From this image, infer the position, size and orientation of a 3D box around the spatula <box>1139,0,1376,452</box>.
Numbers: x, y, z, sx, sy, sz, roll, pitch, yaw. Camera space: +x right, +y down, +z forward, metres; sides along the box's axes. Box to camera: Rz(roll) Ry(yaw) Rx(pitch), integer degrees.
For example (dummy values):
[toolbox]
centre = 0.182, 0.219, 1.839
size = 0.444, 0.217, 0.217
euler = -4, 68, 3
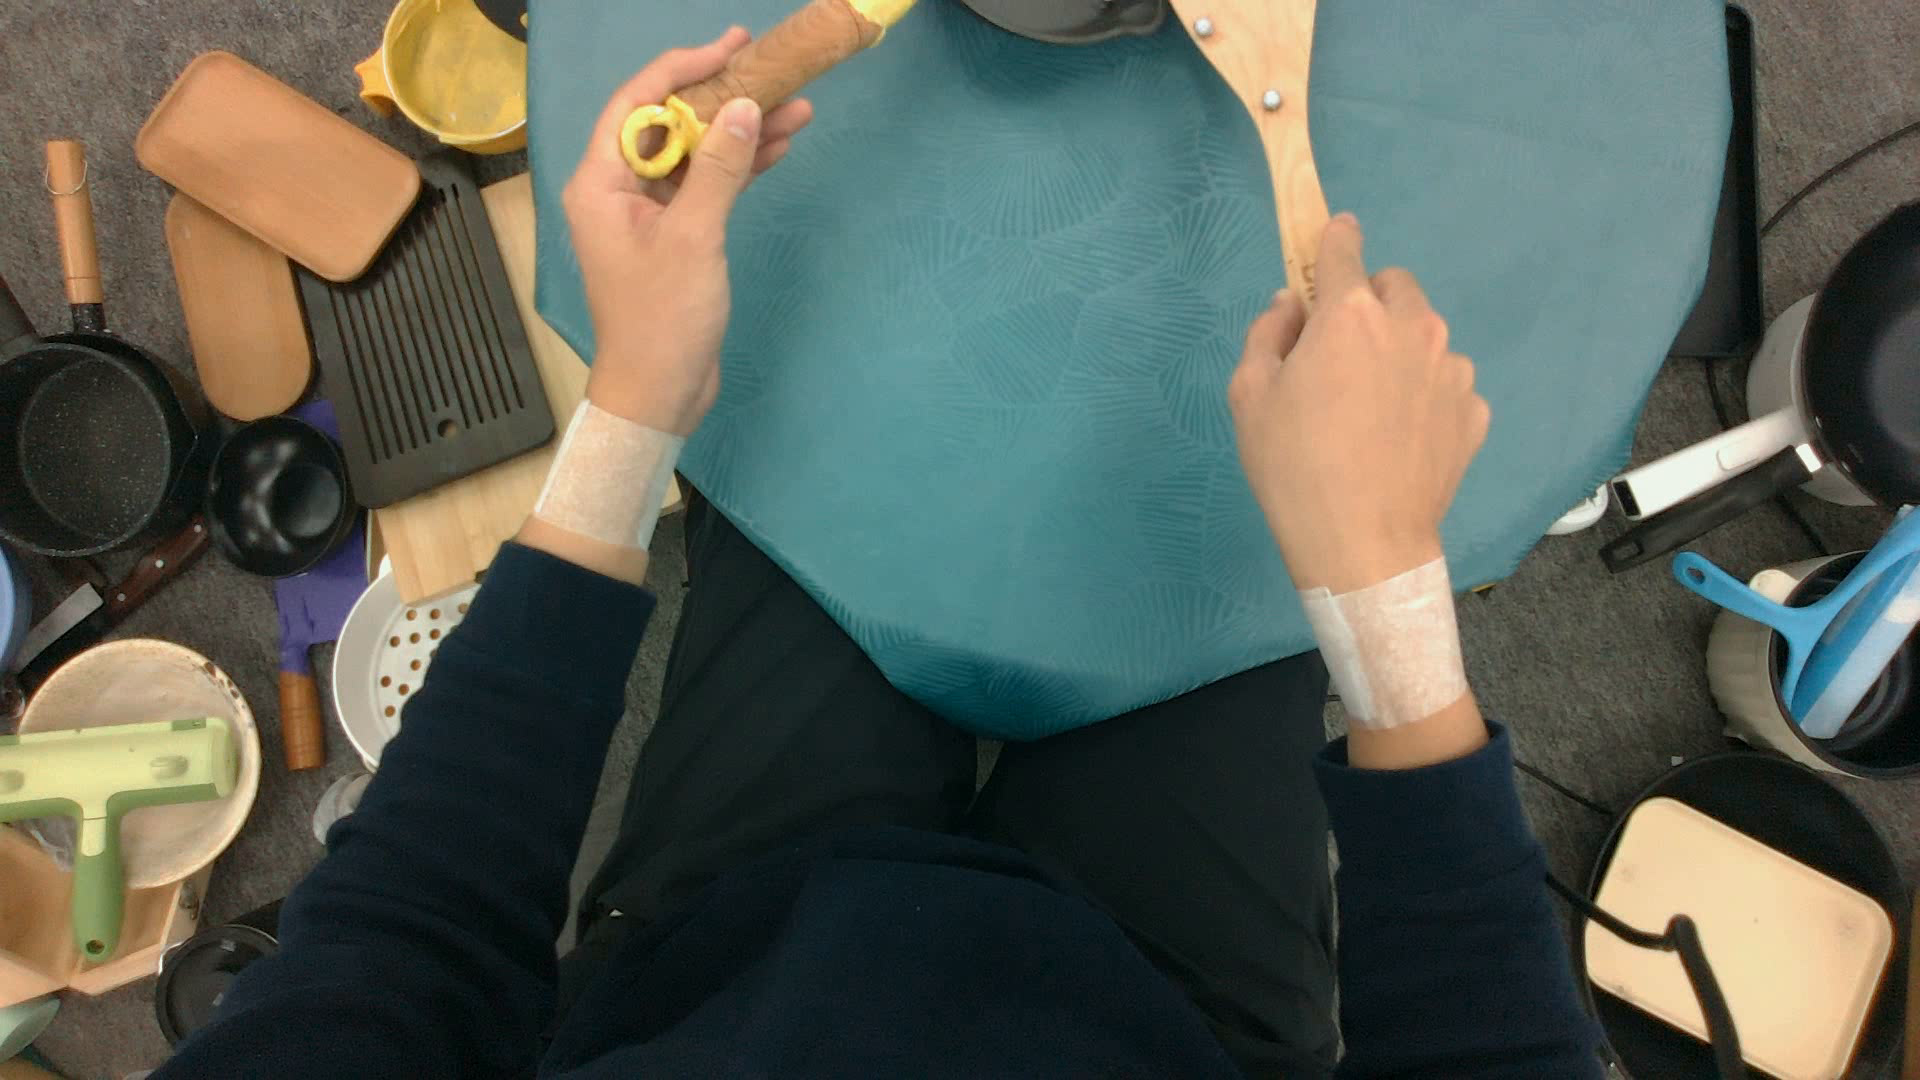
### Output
[spatula]
centre = 0.127, -0.182, 0.601
size = 0.080, 0.016, 0.328
euler = -17, 63, 17

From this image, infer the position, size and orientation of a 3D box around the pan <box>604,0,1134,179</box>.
[pan]
centre = -0.036, -0.255, 0.617
size = 0.325, 0.049, 0.169
euler = -42, 101, -21
